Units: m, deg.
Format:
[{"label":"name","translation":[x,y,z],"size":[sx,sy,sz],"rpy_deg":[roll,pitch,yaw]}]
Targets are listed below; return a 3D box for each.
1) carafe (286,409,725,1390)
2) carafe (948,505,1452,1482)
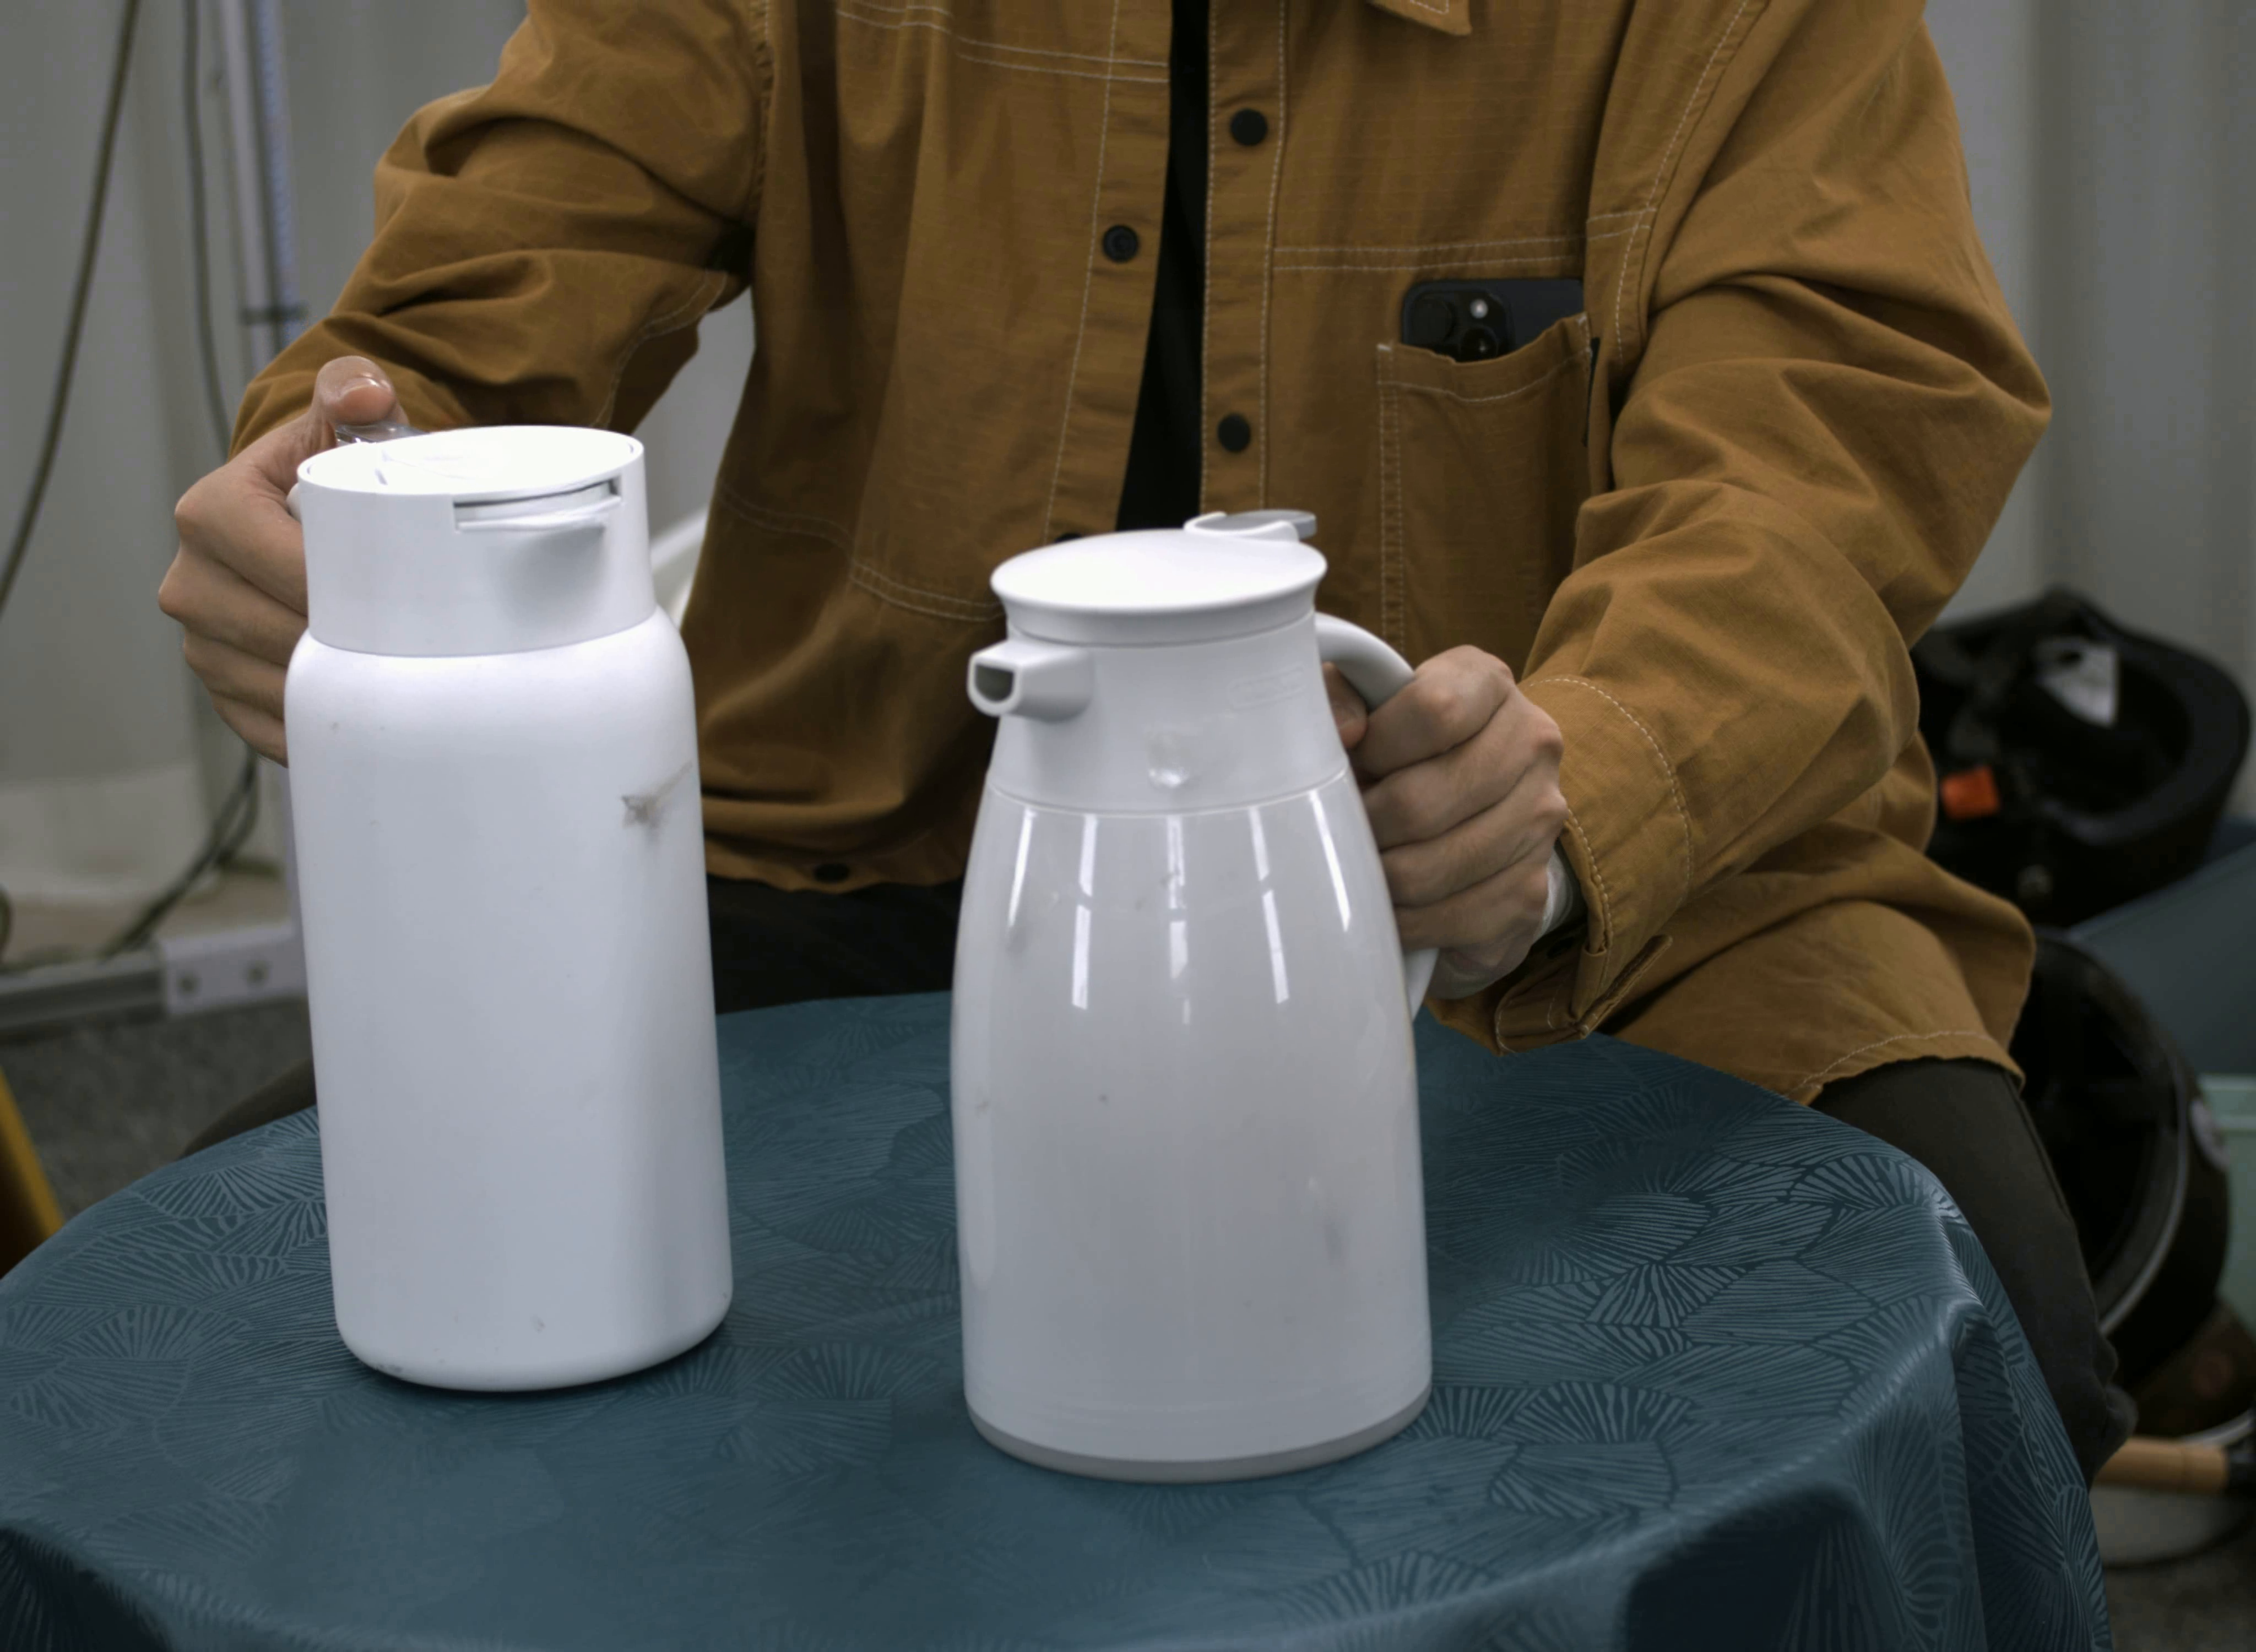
[{"label":"carafe","translation":[-0.191,0.018,1.597],"size":[0.123,0.268,0.174],"rpy_deg":[-13,17,-32]},{"label":"carafe","translation":[0.027,0.037,1.521],"size":[0.167,0.248,0.133],"rpy_deg":[-15,18,-43]}]
